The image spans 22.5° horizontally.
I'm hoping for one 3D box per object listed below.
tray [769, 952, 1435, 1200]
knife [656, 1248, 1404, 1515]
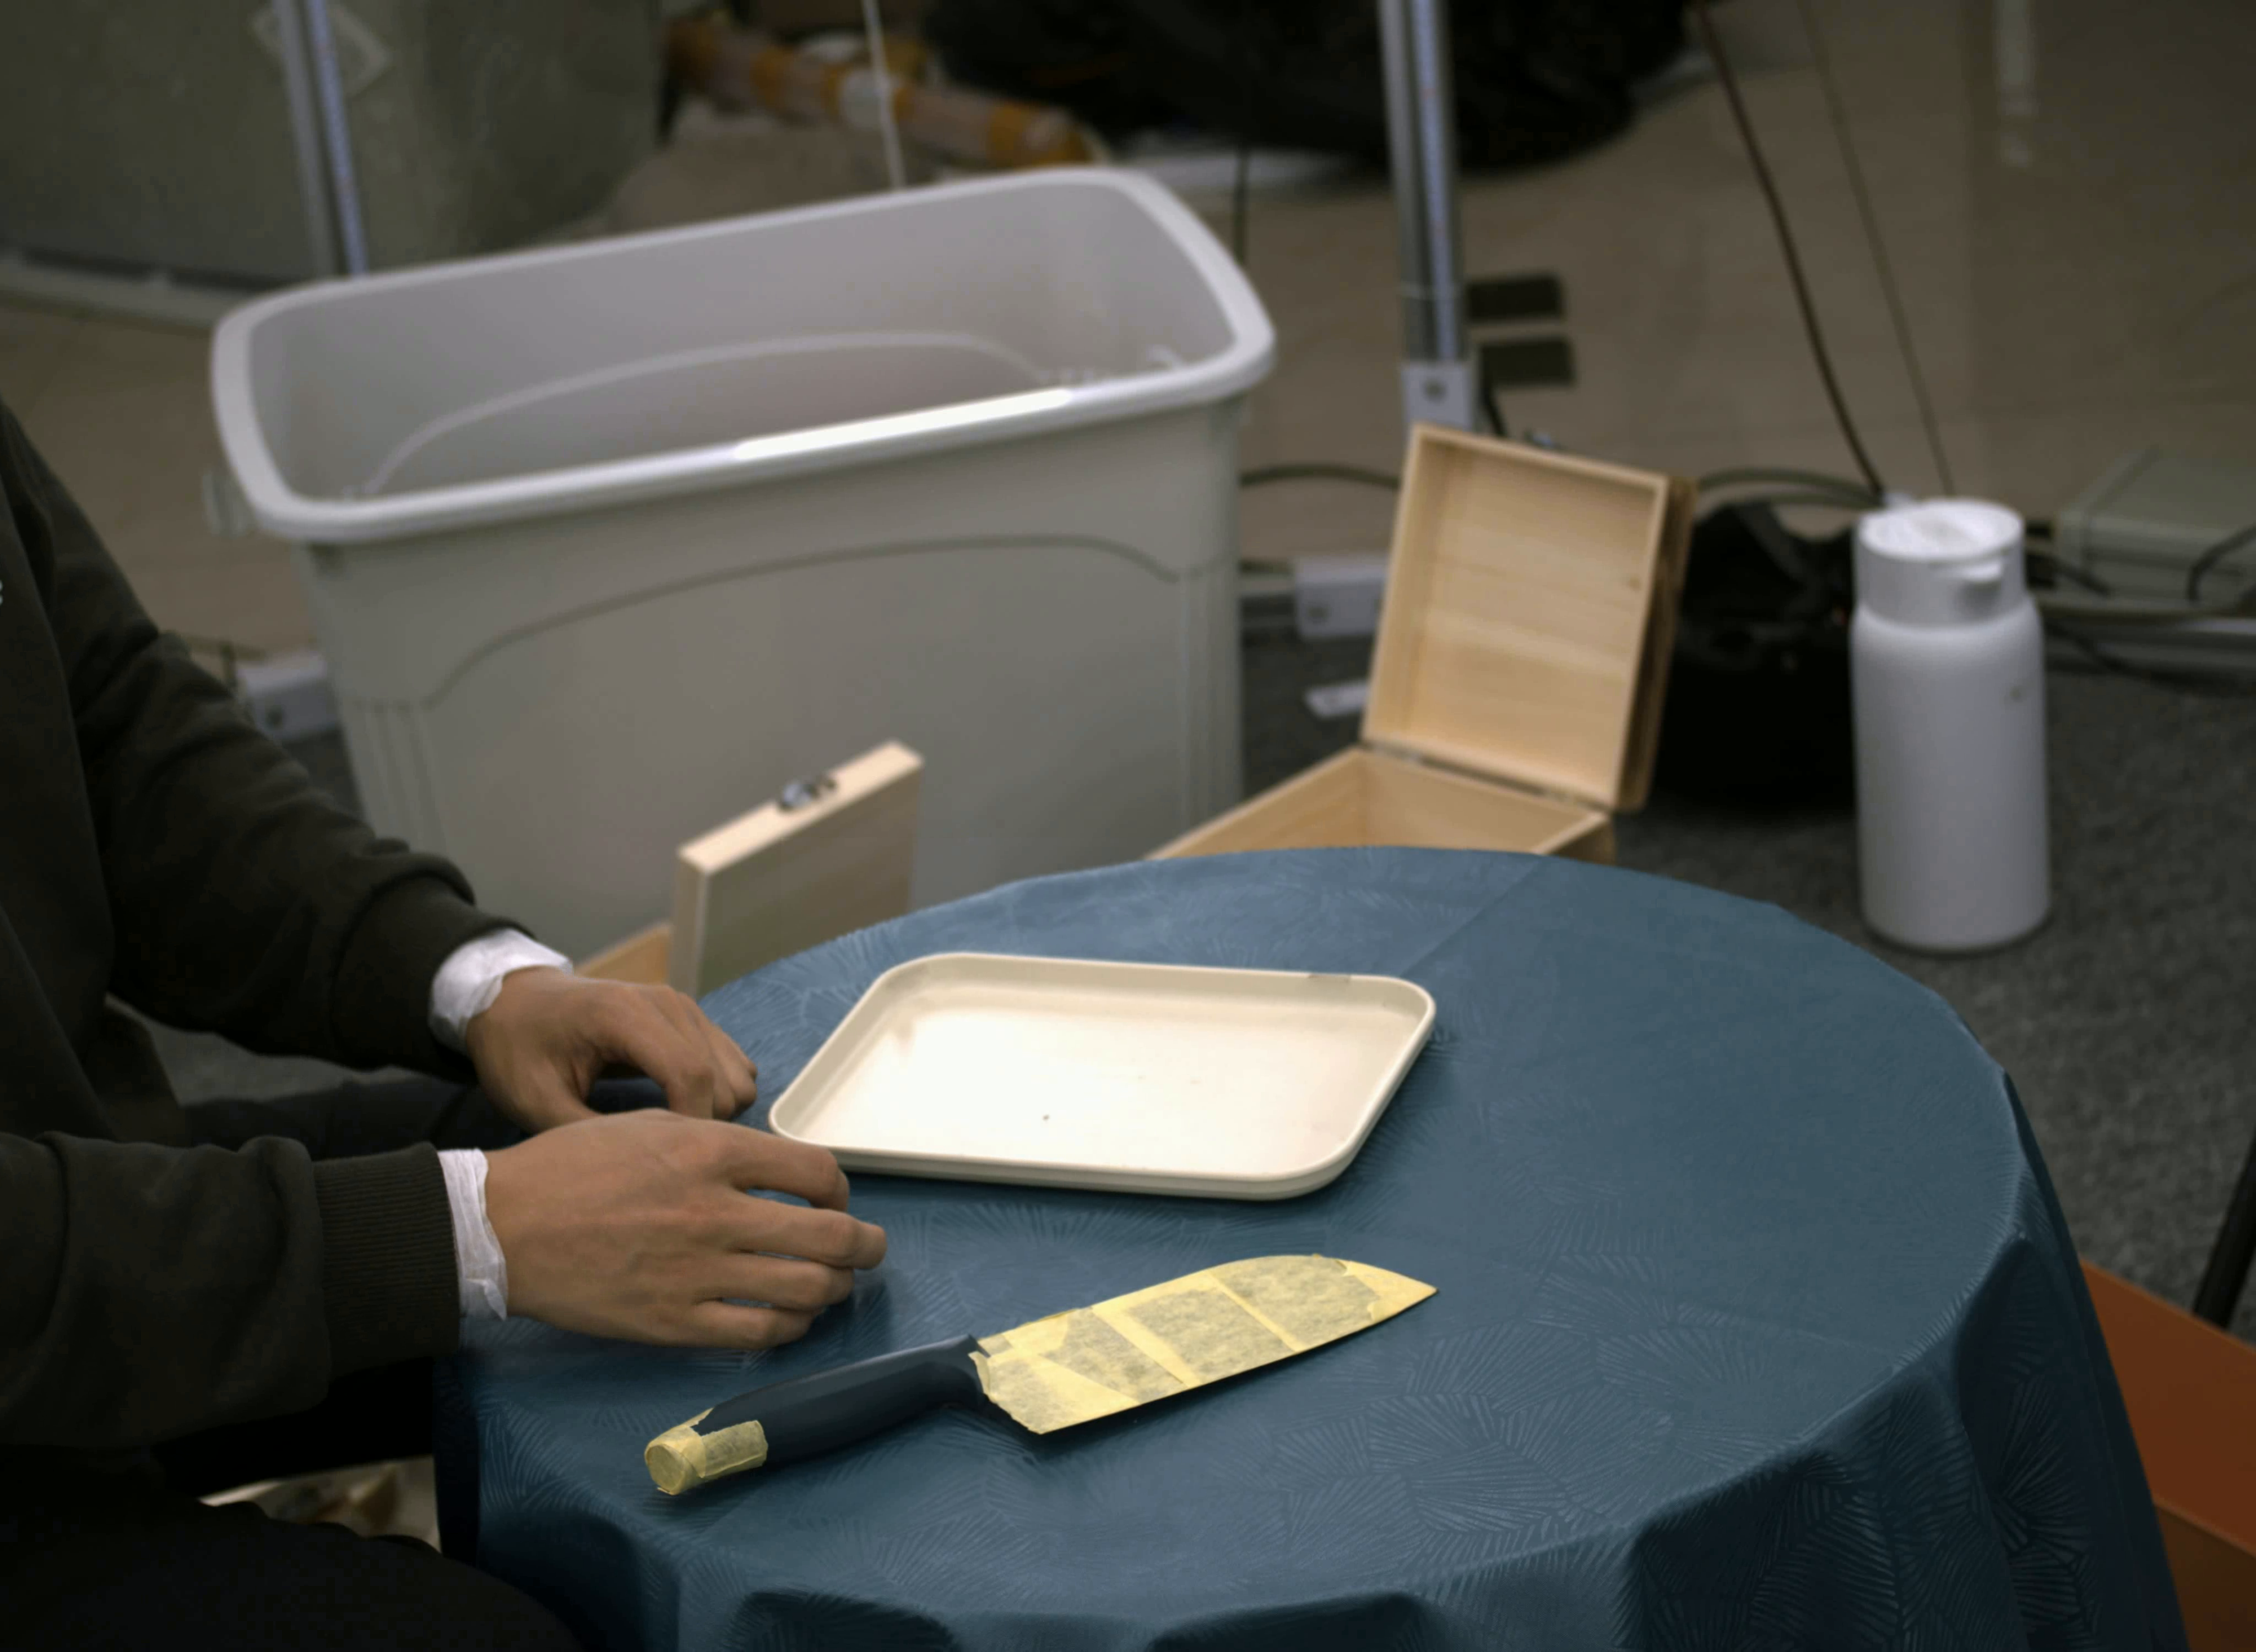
[{"bbox_3d":[-0.009,0.098,2.221,0.239,0.018,0.169,3,27,20],"label":"tray"},{"bbox_3d":[-0.029,0.196,2.018,0.288,0.027,0.080,-16,25,-21],"label":"knife"}]
